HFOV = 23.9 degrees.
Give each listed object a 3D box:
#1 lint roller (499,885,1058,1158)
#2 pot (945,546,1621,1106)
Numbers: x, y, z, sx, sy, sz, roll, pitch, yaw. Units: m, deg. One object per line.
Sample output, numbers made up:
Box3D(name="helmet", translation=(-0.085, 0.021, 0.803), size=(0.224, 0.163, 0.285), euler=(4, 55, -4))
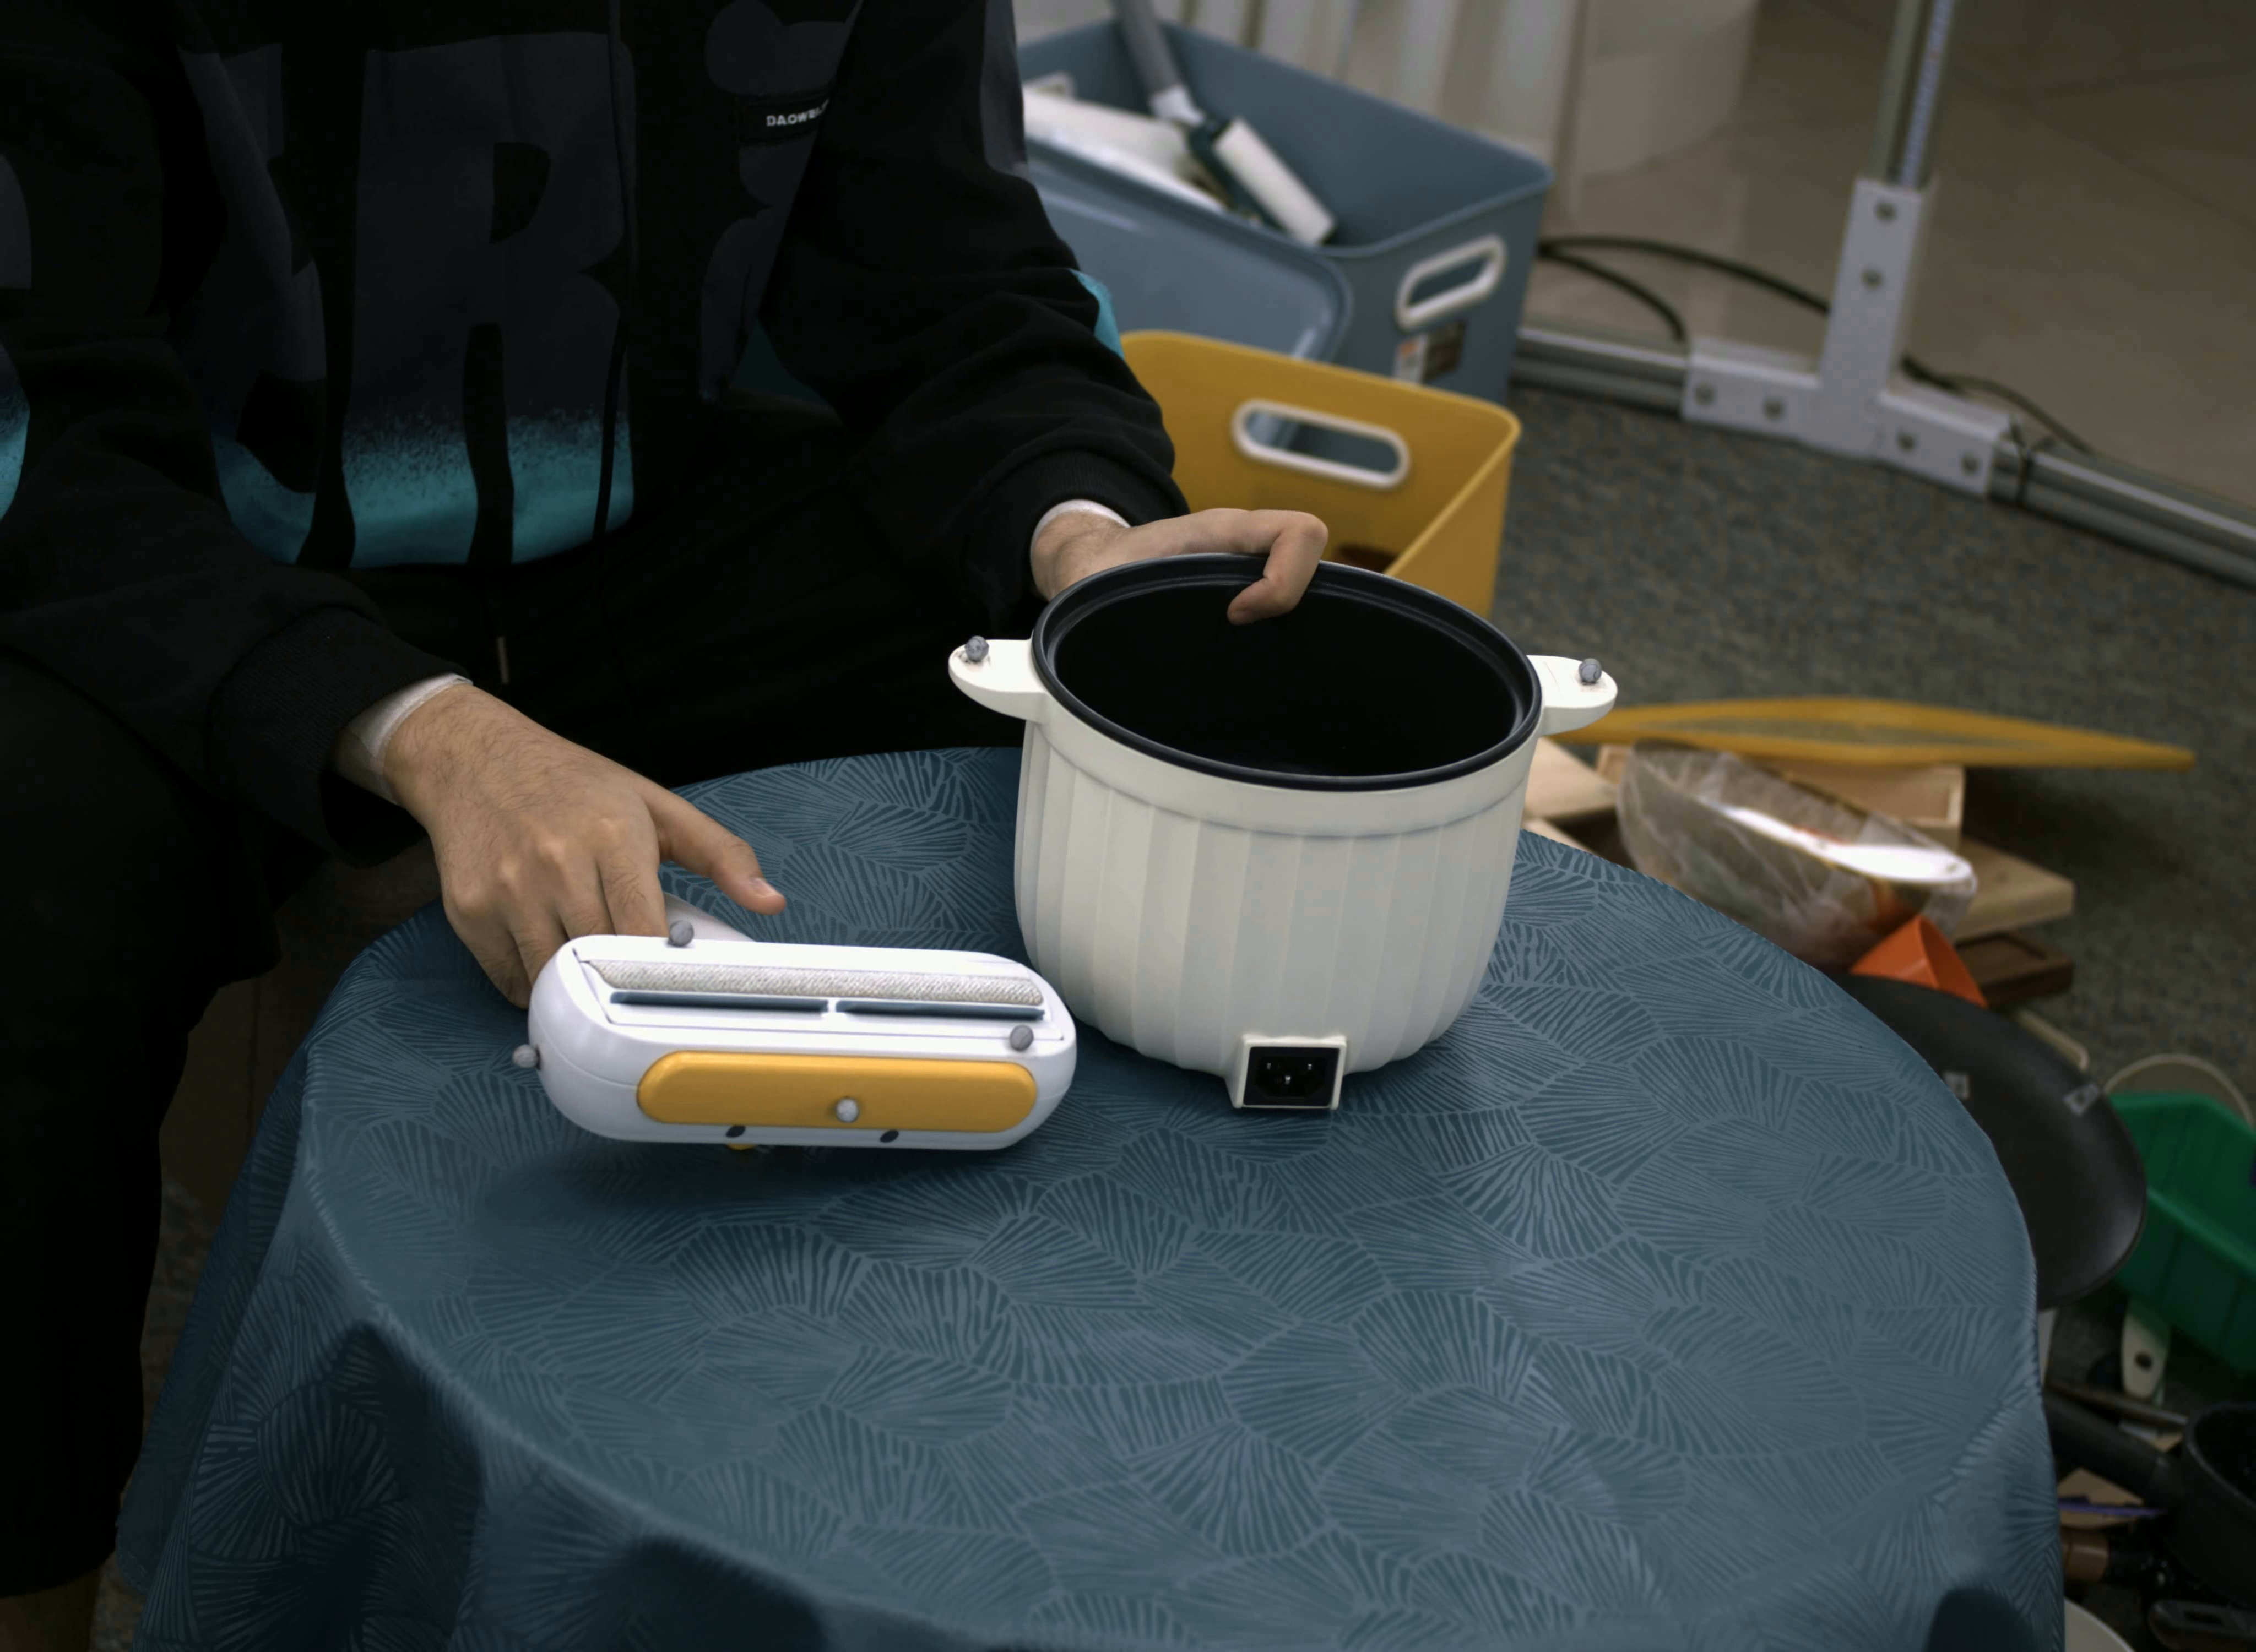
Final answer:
Box3D(name="lint roller", translation=(-0.138, 0.054, 1.830), size=(0.191, 0.074, 0.194), euler=(1, 25, -23))
Box3D(name="pot", translation=(0.047, -0.003, 1.905), size=(0.239, 0.142, 0.192), euler=(6, 30, -5))
